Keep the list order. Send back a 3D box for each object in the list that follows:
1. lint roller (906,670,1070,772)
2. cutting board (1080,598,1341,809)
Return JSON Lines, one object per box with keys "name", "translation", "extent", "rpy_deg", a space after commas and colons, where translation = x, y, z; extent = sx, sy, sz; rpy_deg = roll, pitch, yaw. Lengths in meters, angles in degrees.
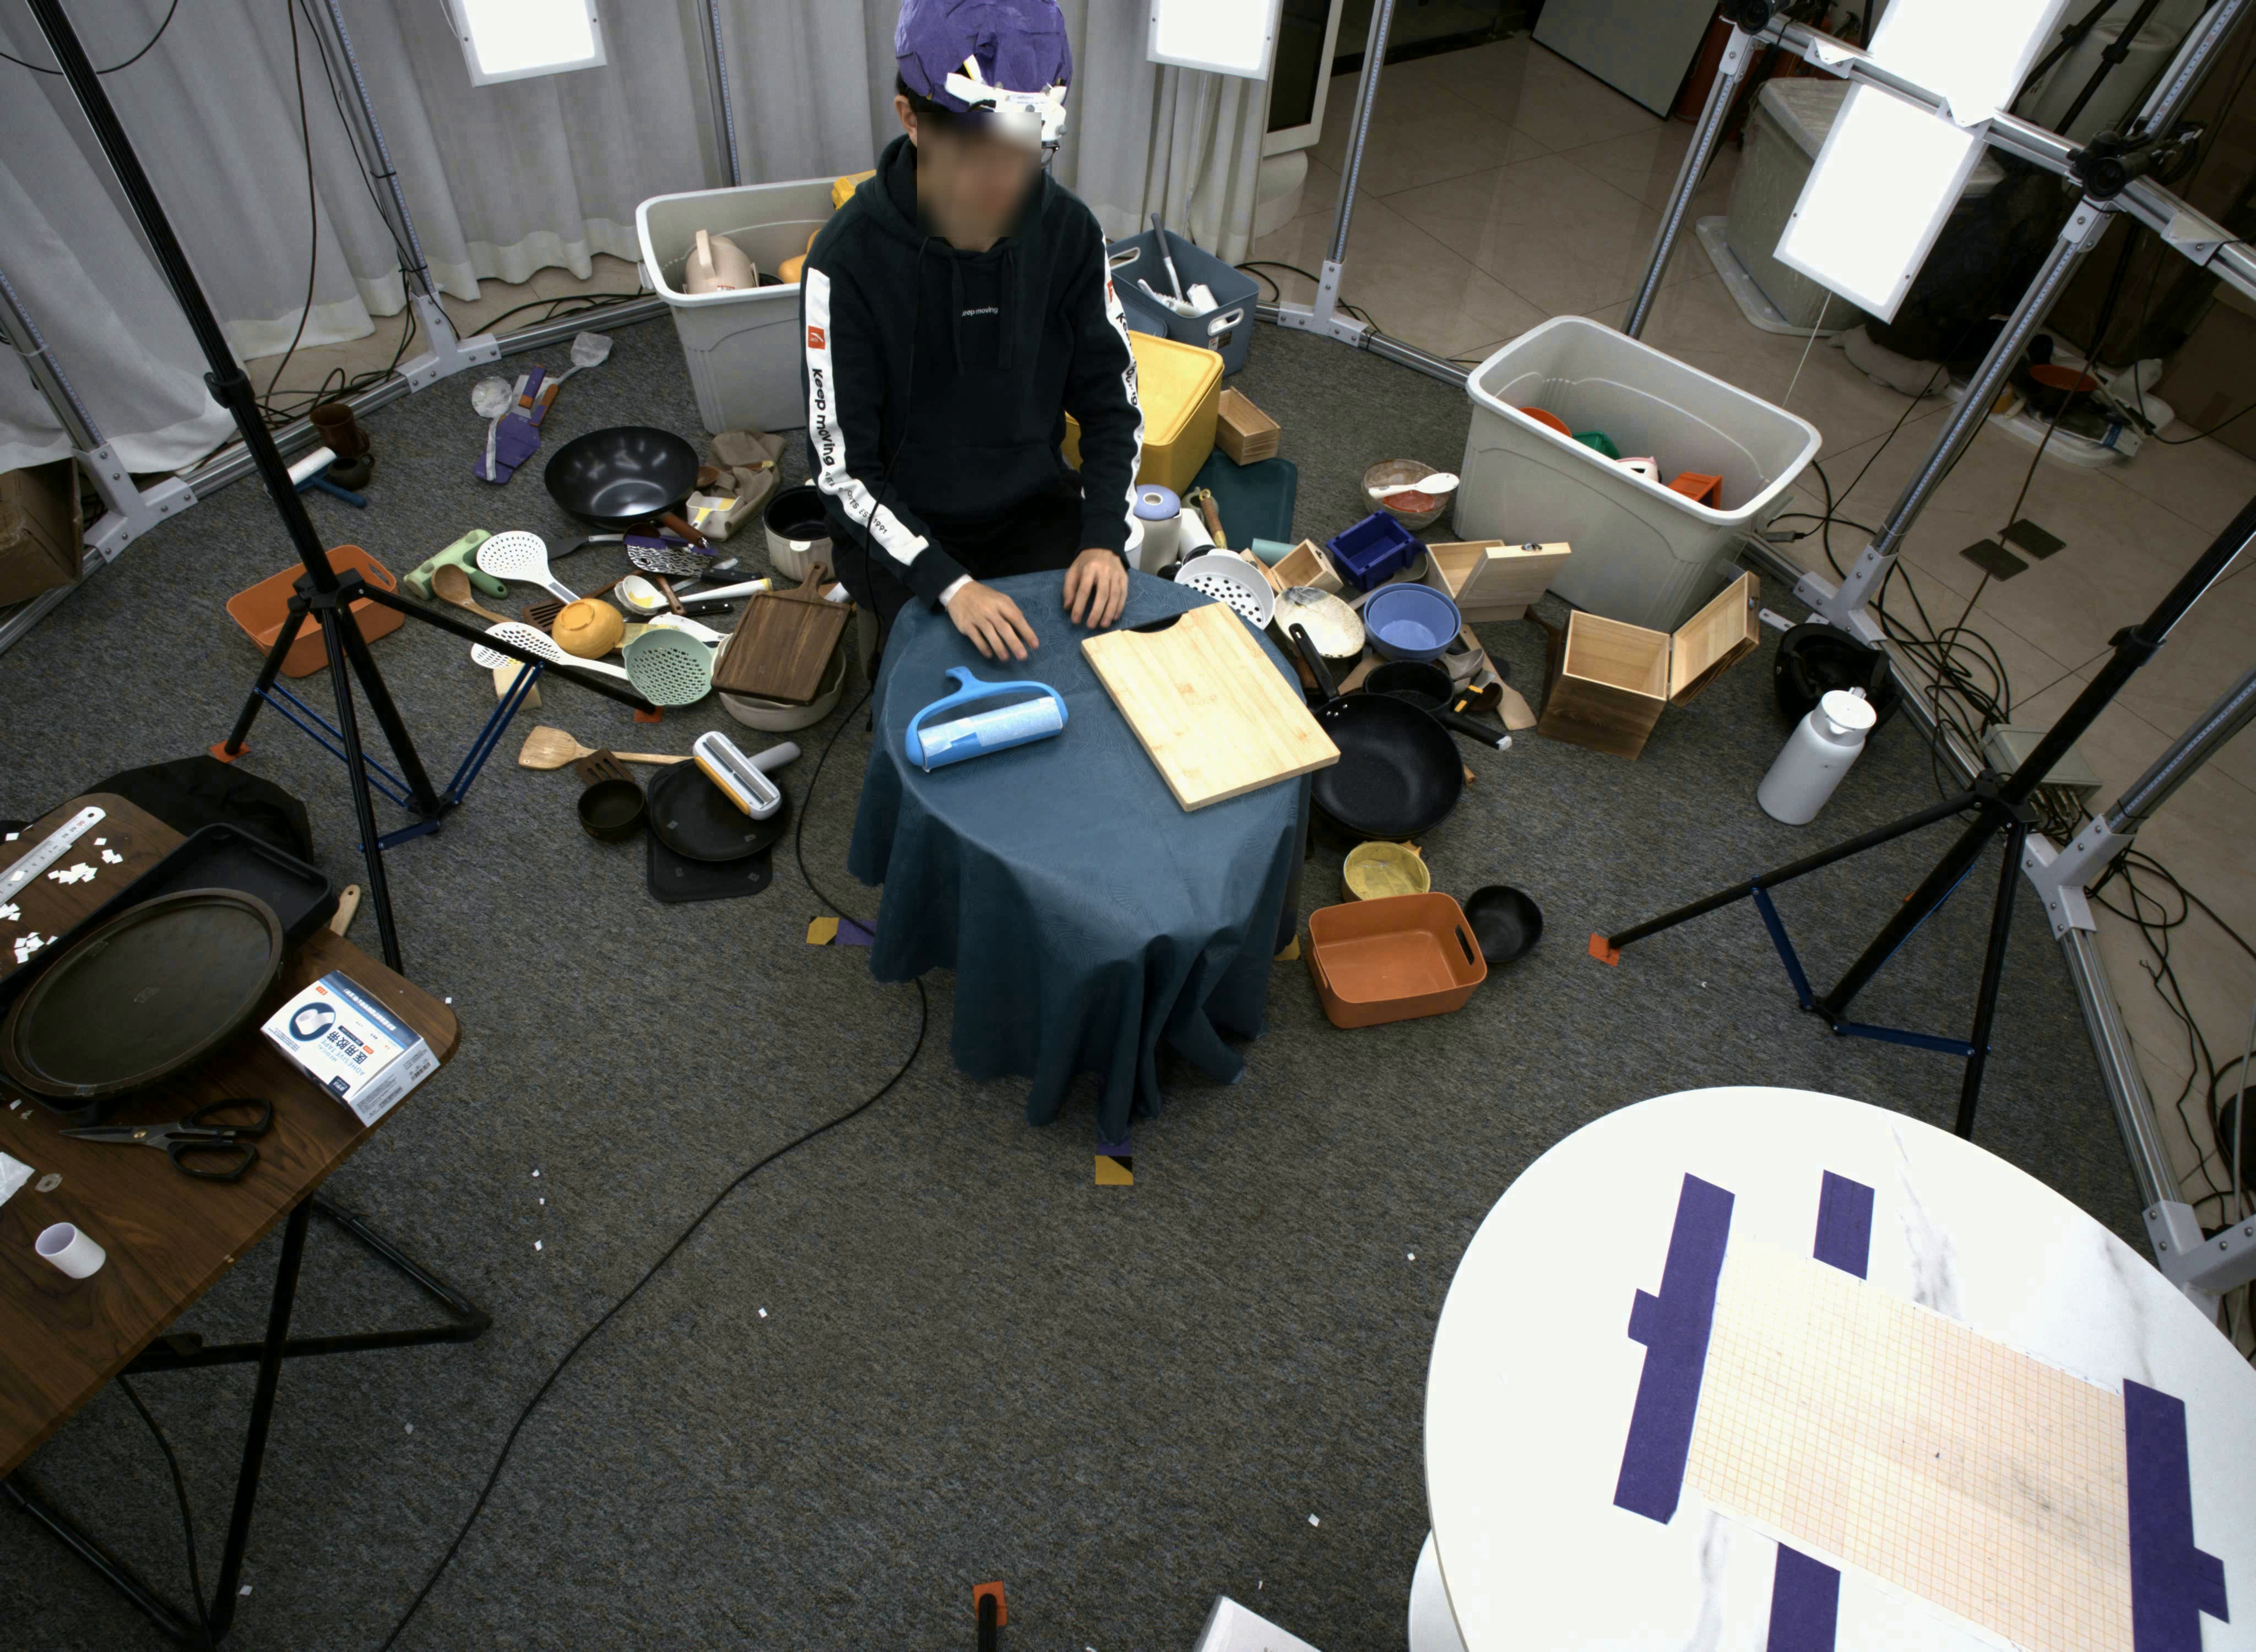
{"name": "lint roller", "translation": [-0.212, -0.168, 1.763], "extent": [0.229, 0.066, 0.184], "rpy_deg": [-20, 54, -18]}
{"name": "cutting board", "translation": [0.110, -0.183, 1.823], "extent": [0.251, 0.023, 0.356], "rpy_deg": [-19, 53, -19]}
